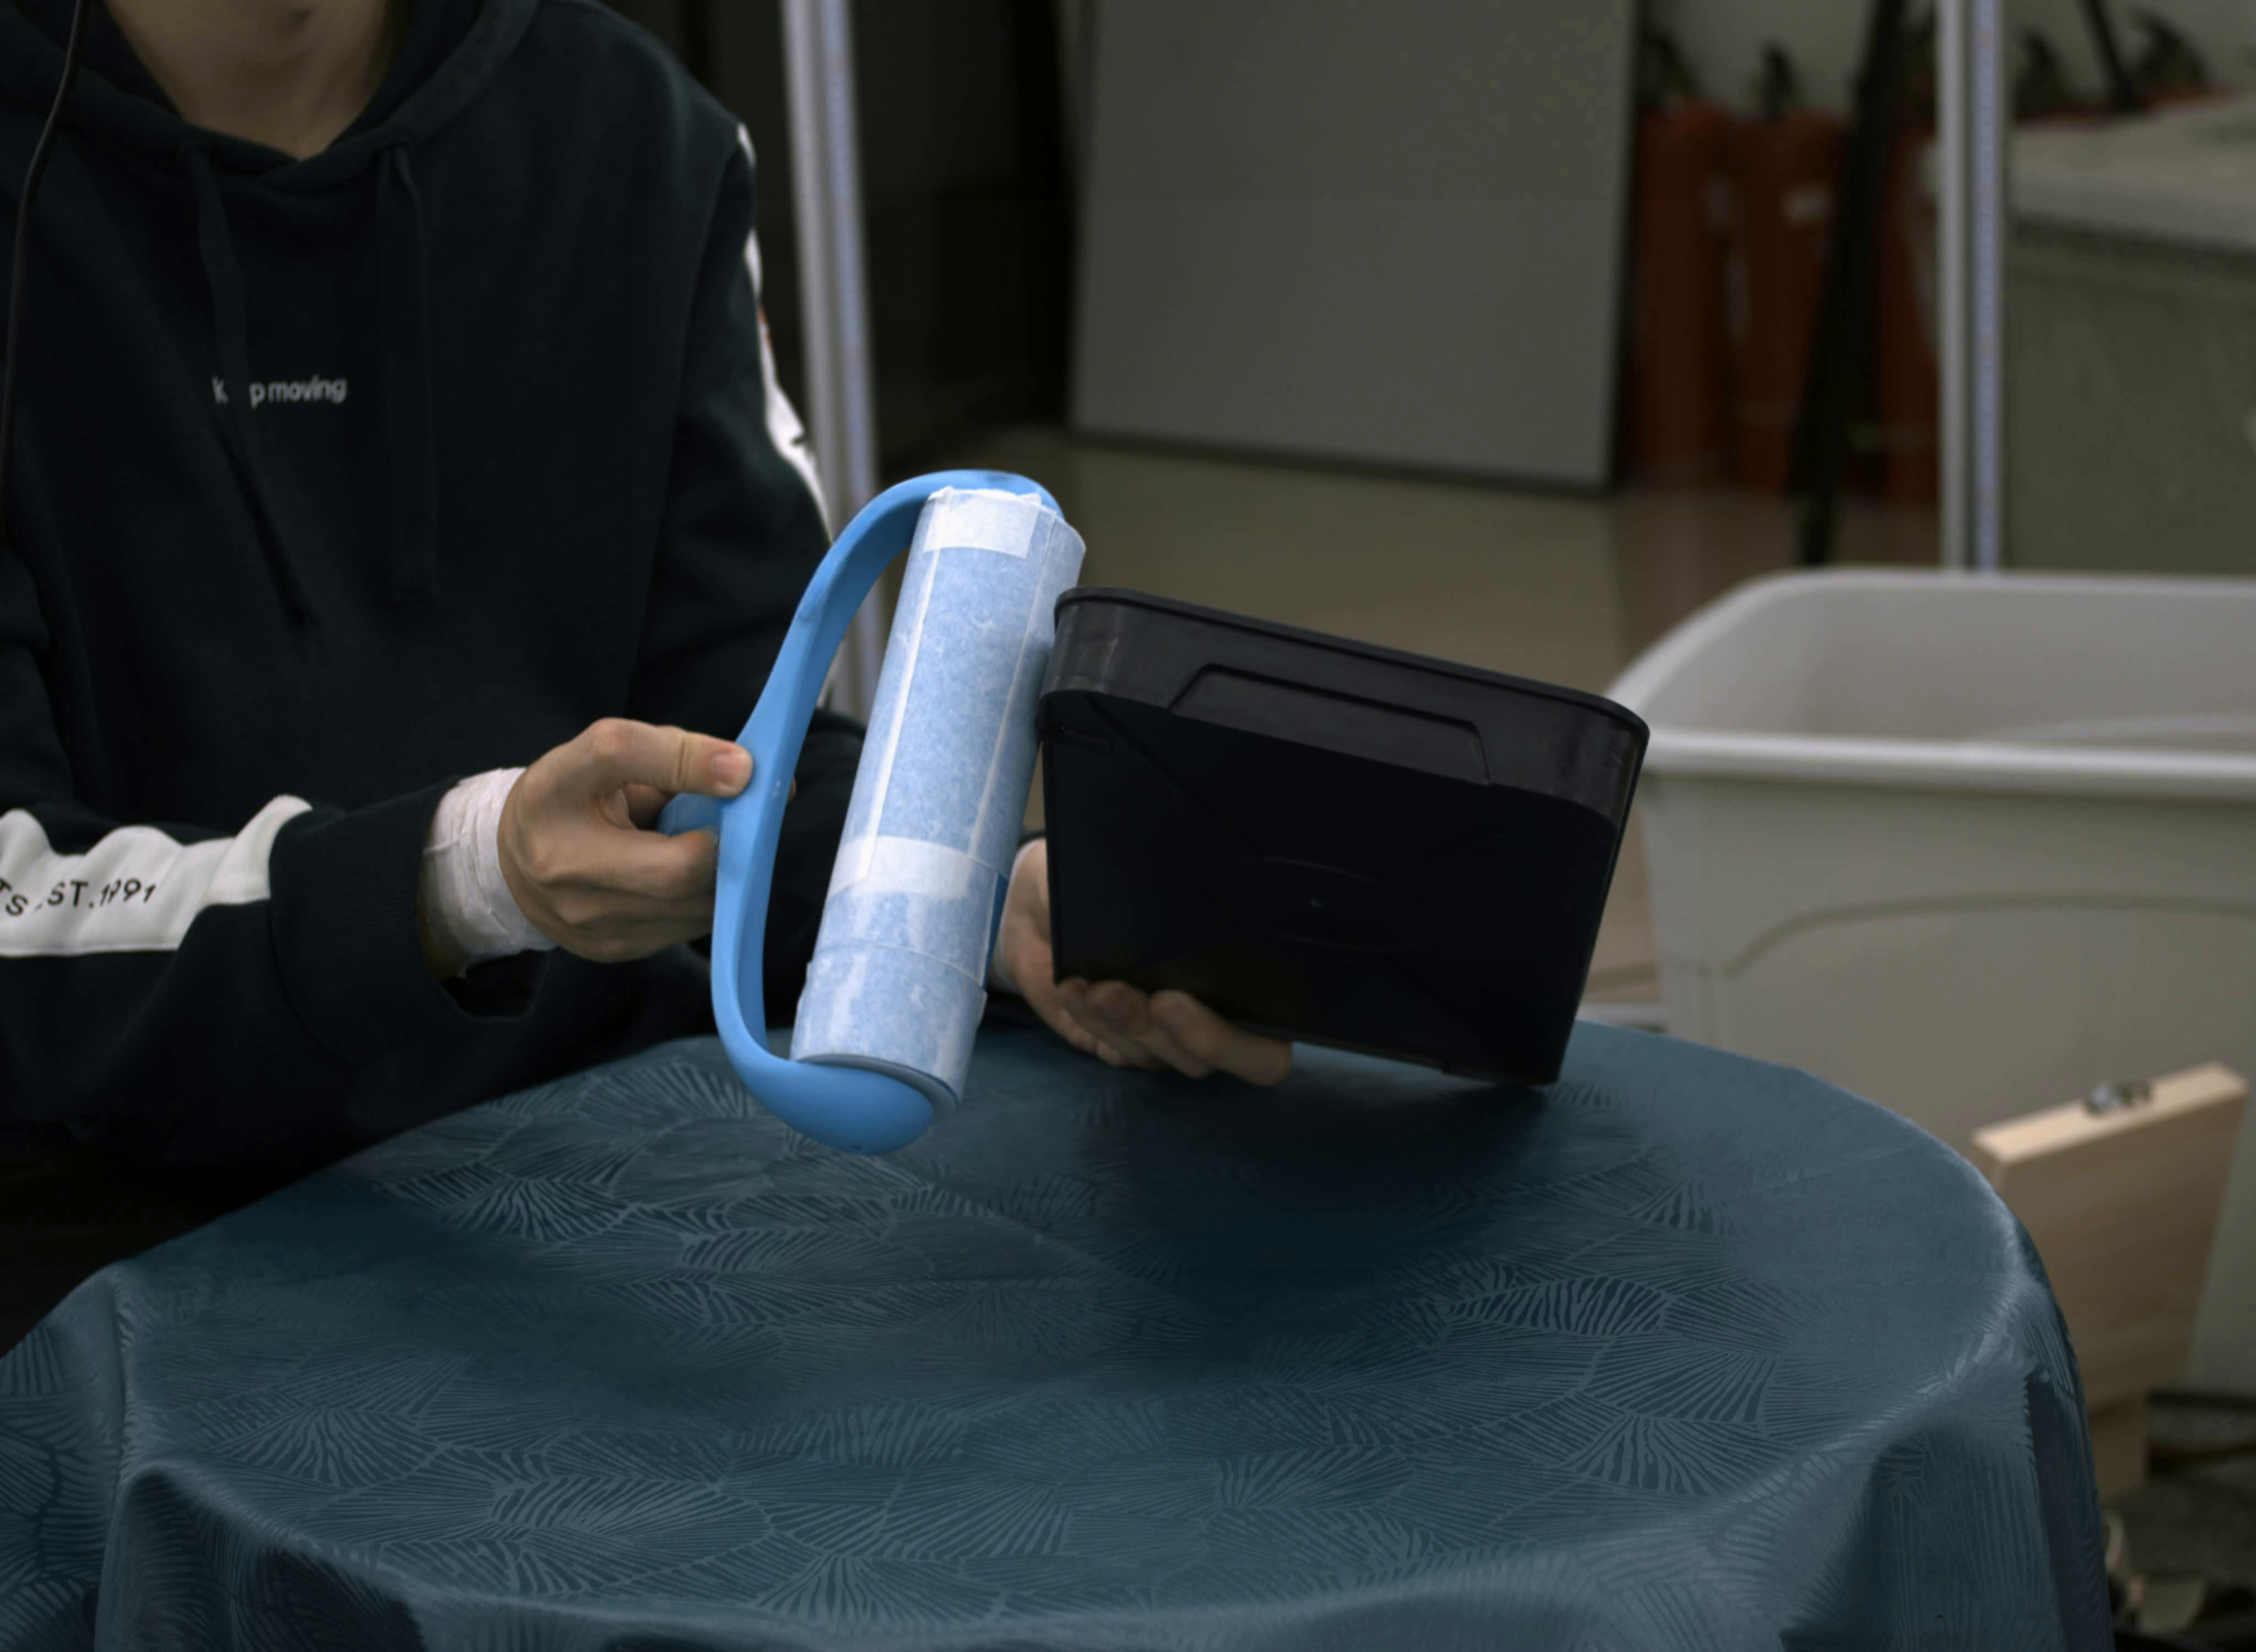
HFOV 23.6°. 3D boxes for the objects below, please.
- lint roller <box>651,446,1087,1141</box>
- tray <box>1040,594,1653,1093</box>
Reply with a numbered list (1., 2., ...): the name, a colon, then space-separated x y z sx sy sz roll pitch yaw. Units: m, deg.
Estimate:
1. lint roller: -0.101 -0.001 1.667 0.181 0.231 0.067 -15 -35 41
2. tray: 0.063 0.013 1.725 0.182 0.037 0.318 12 -18 4
